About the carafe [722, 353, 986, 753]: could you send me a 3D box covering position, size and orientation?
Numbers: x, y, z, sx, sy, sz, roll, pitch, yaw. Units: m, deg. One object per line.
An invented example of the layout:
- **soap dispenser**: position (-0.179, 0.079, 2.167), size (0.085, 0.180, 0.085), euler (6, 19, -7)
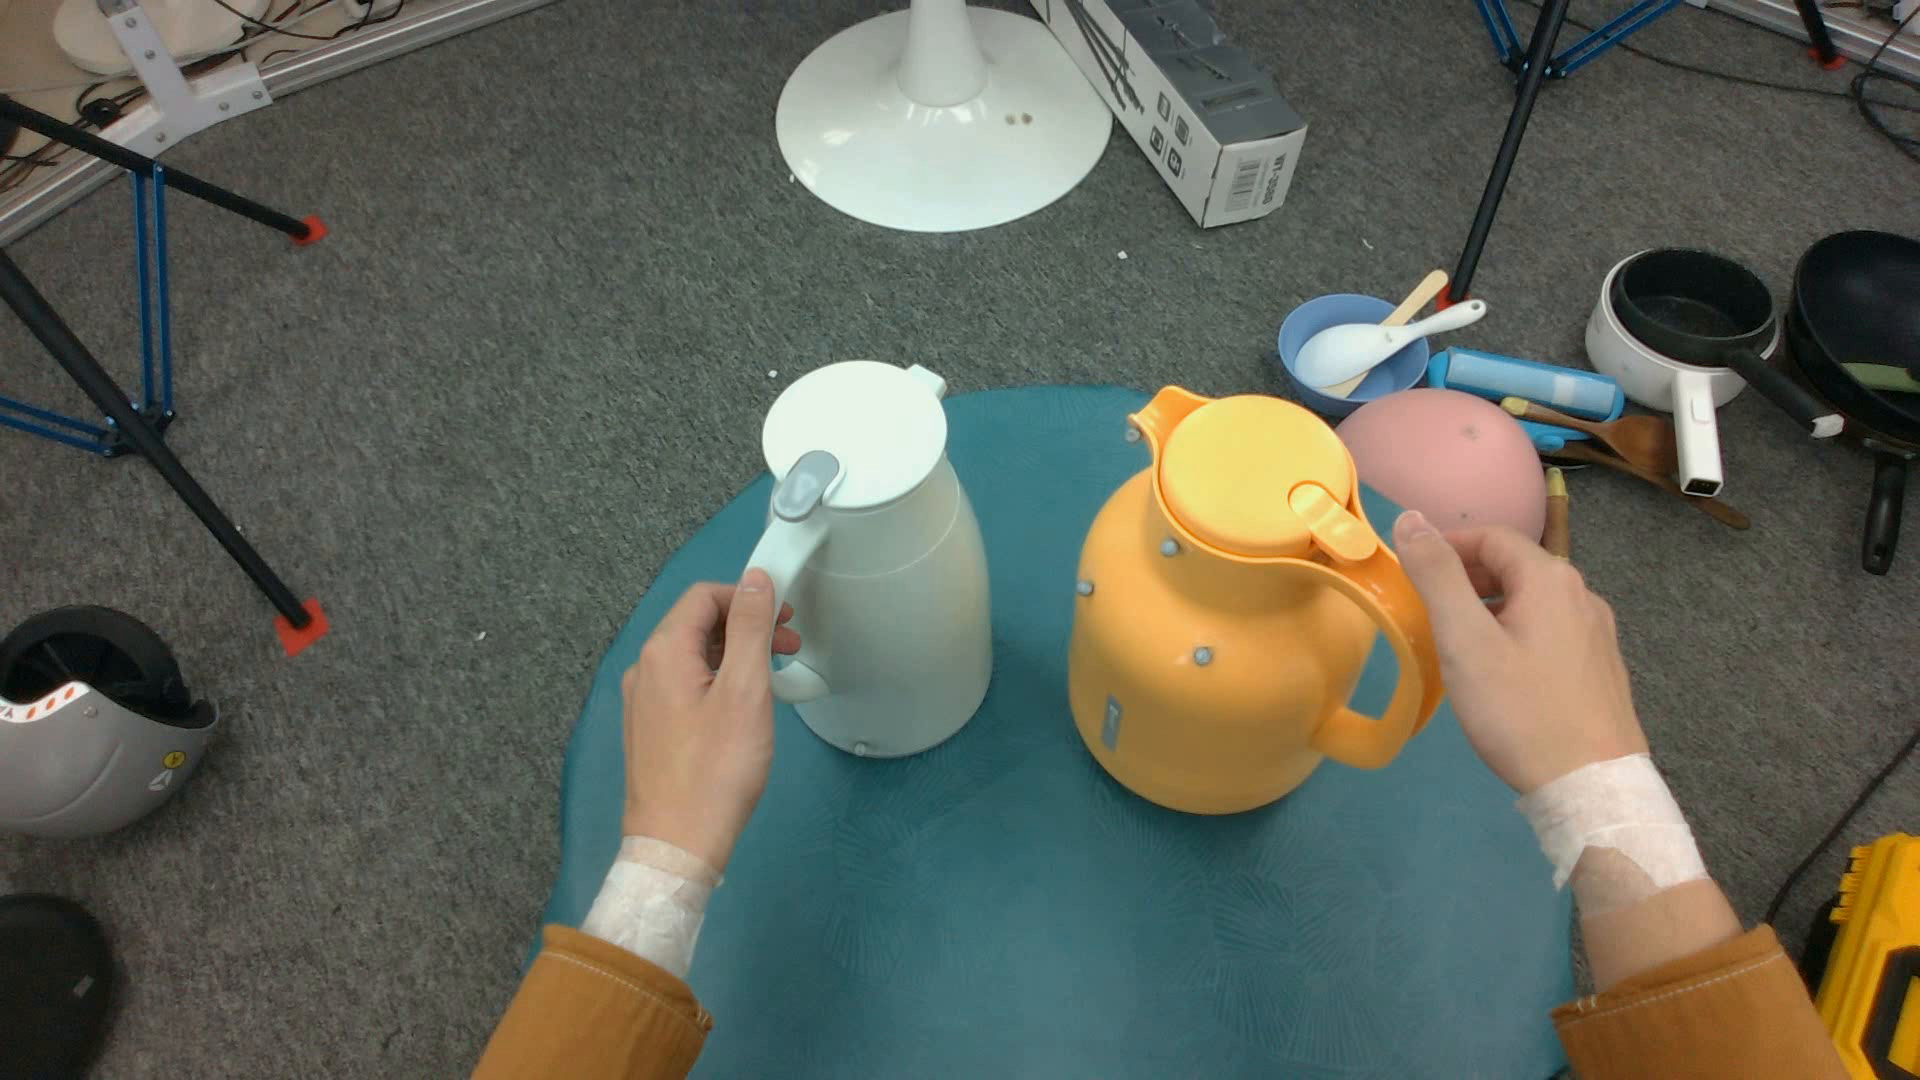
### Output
- **carafe**: position (-0.063, 0.021, 0.763), size (0.132, 0.247, 0.168), euler (29, 62, 19)

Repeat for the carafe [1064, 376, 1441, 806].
- **carafe**: position (0.151, 0.041, 0.738), size (0.164, 0.259, 0.202), euler (-38, 62, -19)
